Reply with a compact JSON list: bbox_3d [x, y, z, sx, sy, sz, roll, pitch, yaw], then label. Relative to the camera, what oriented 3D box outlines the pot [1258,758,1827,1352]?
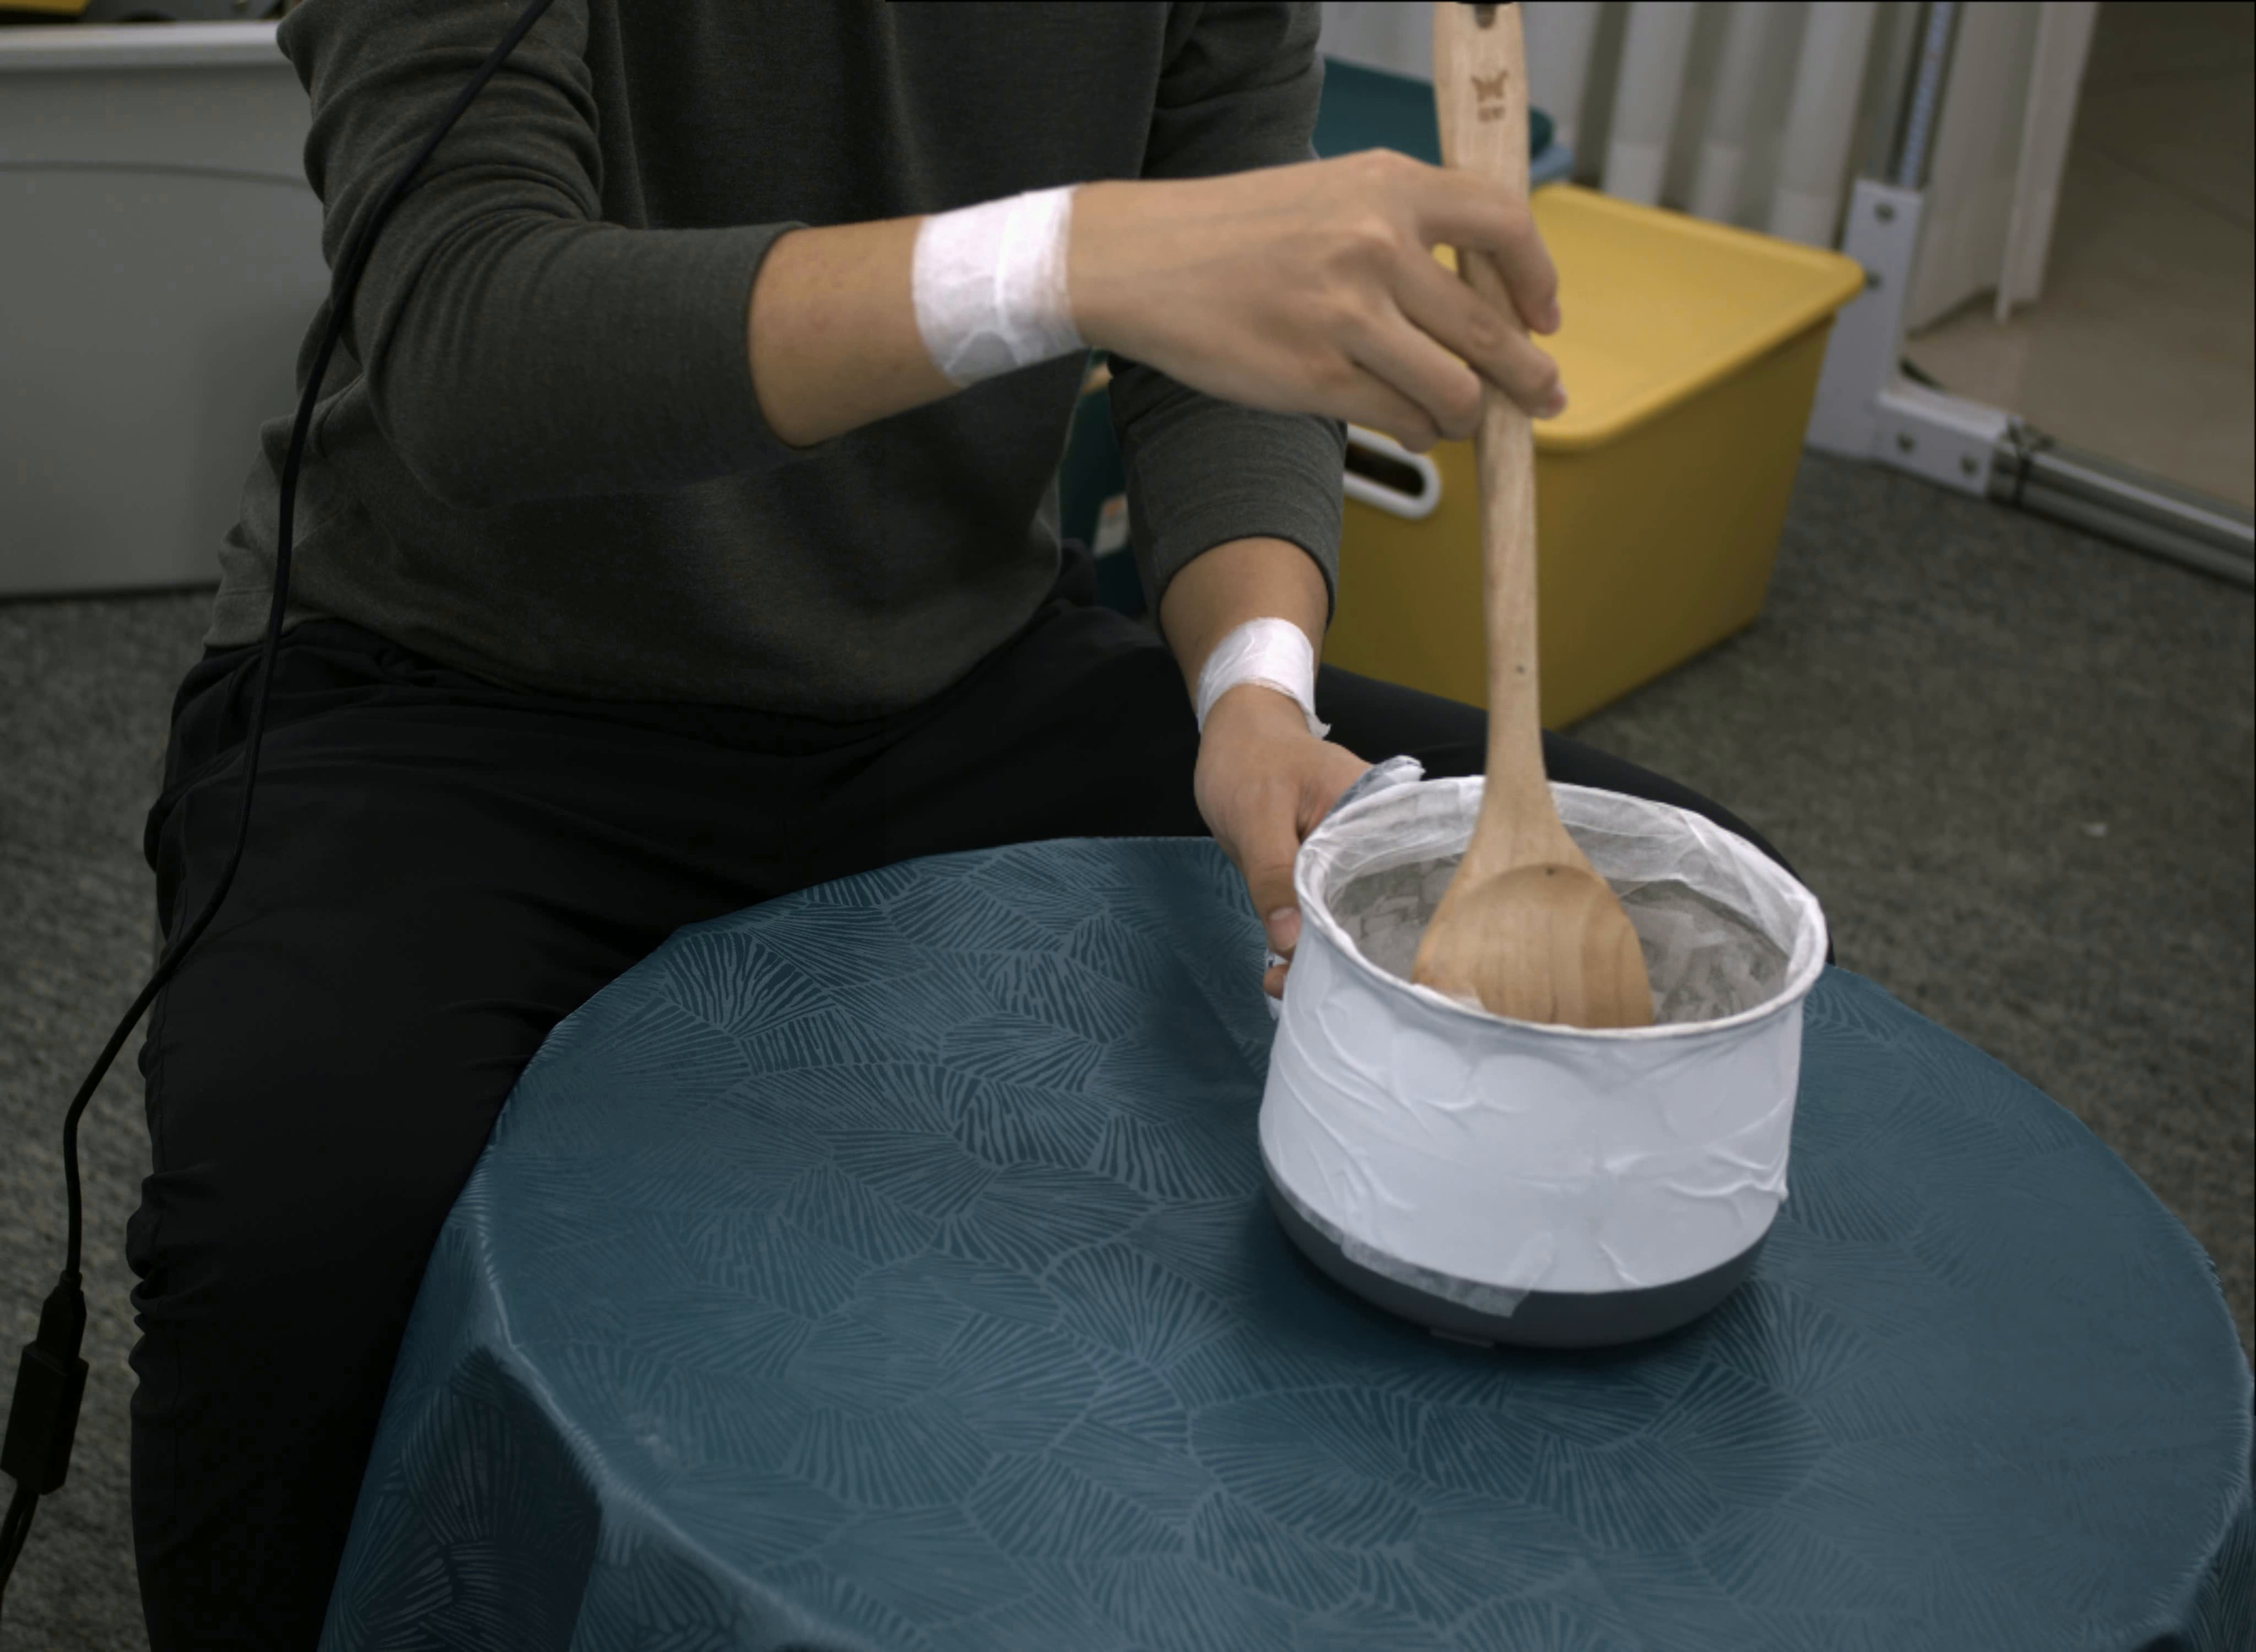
[{"bbox_3d":[0.121,0.069,1.792,0.177,0.136,0.236,-10,30,-29],"label":"pot"}]

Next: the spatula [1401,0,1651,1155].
[{"bbox_3d":[0.117,-0.082,1.682,0.095,0.390,0.018,-13,18,-29],"label":"spatula"}]
